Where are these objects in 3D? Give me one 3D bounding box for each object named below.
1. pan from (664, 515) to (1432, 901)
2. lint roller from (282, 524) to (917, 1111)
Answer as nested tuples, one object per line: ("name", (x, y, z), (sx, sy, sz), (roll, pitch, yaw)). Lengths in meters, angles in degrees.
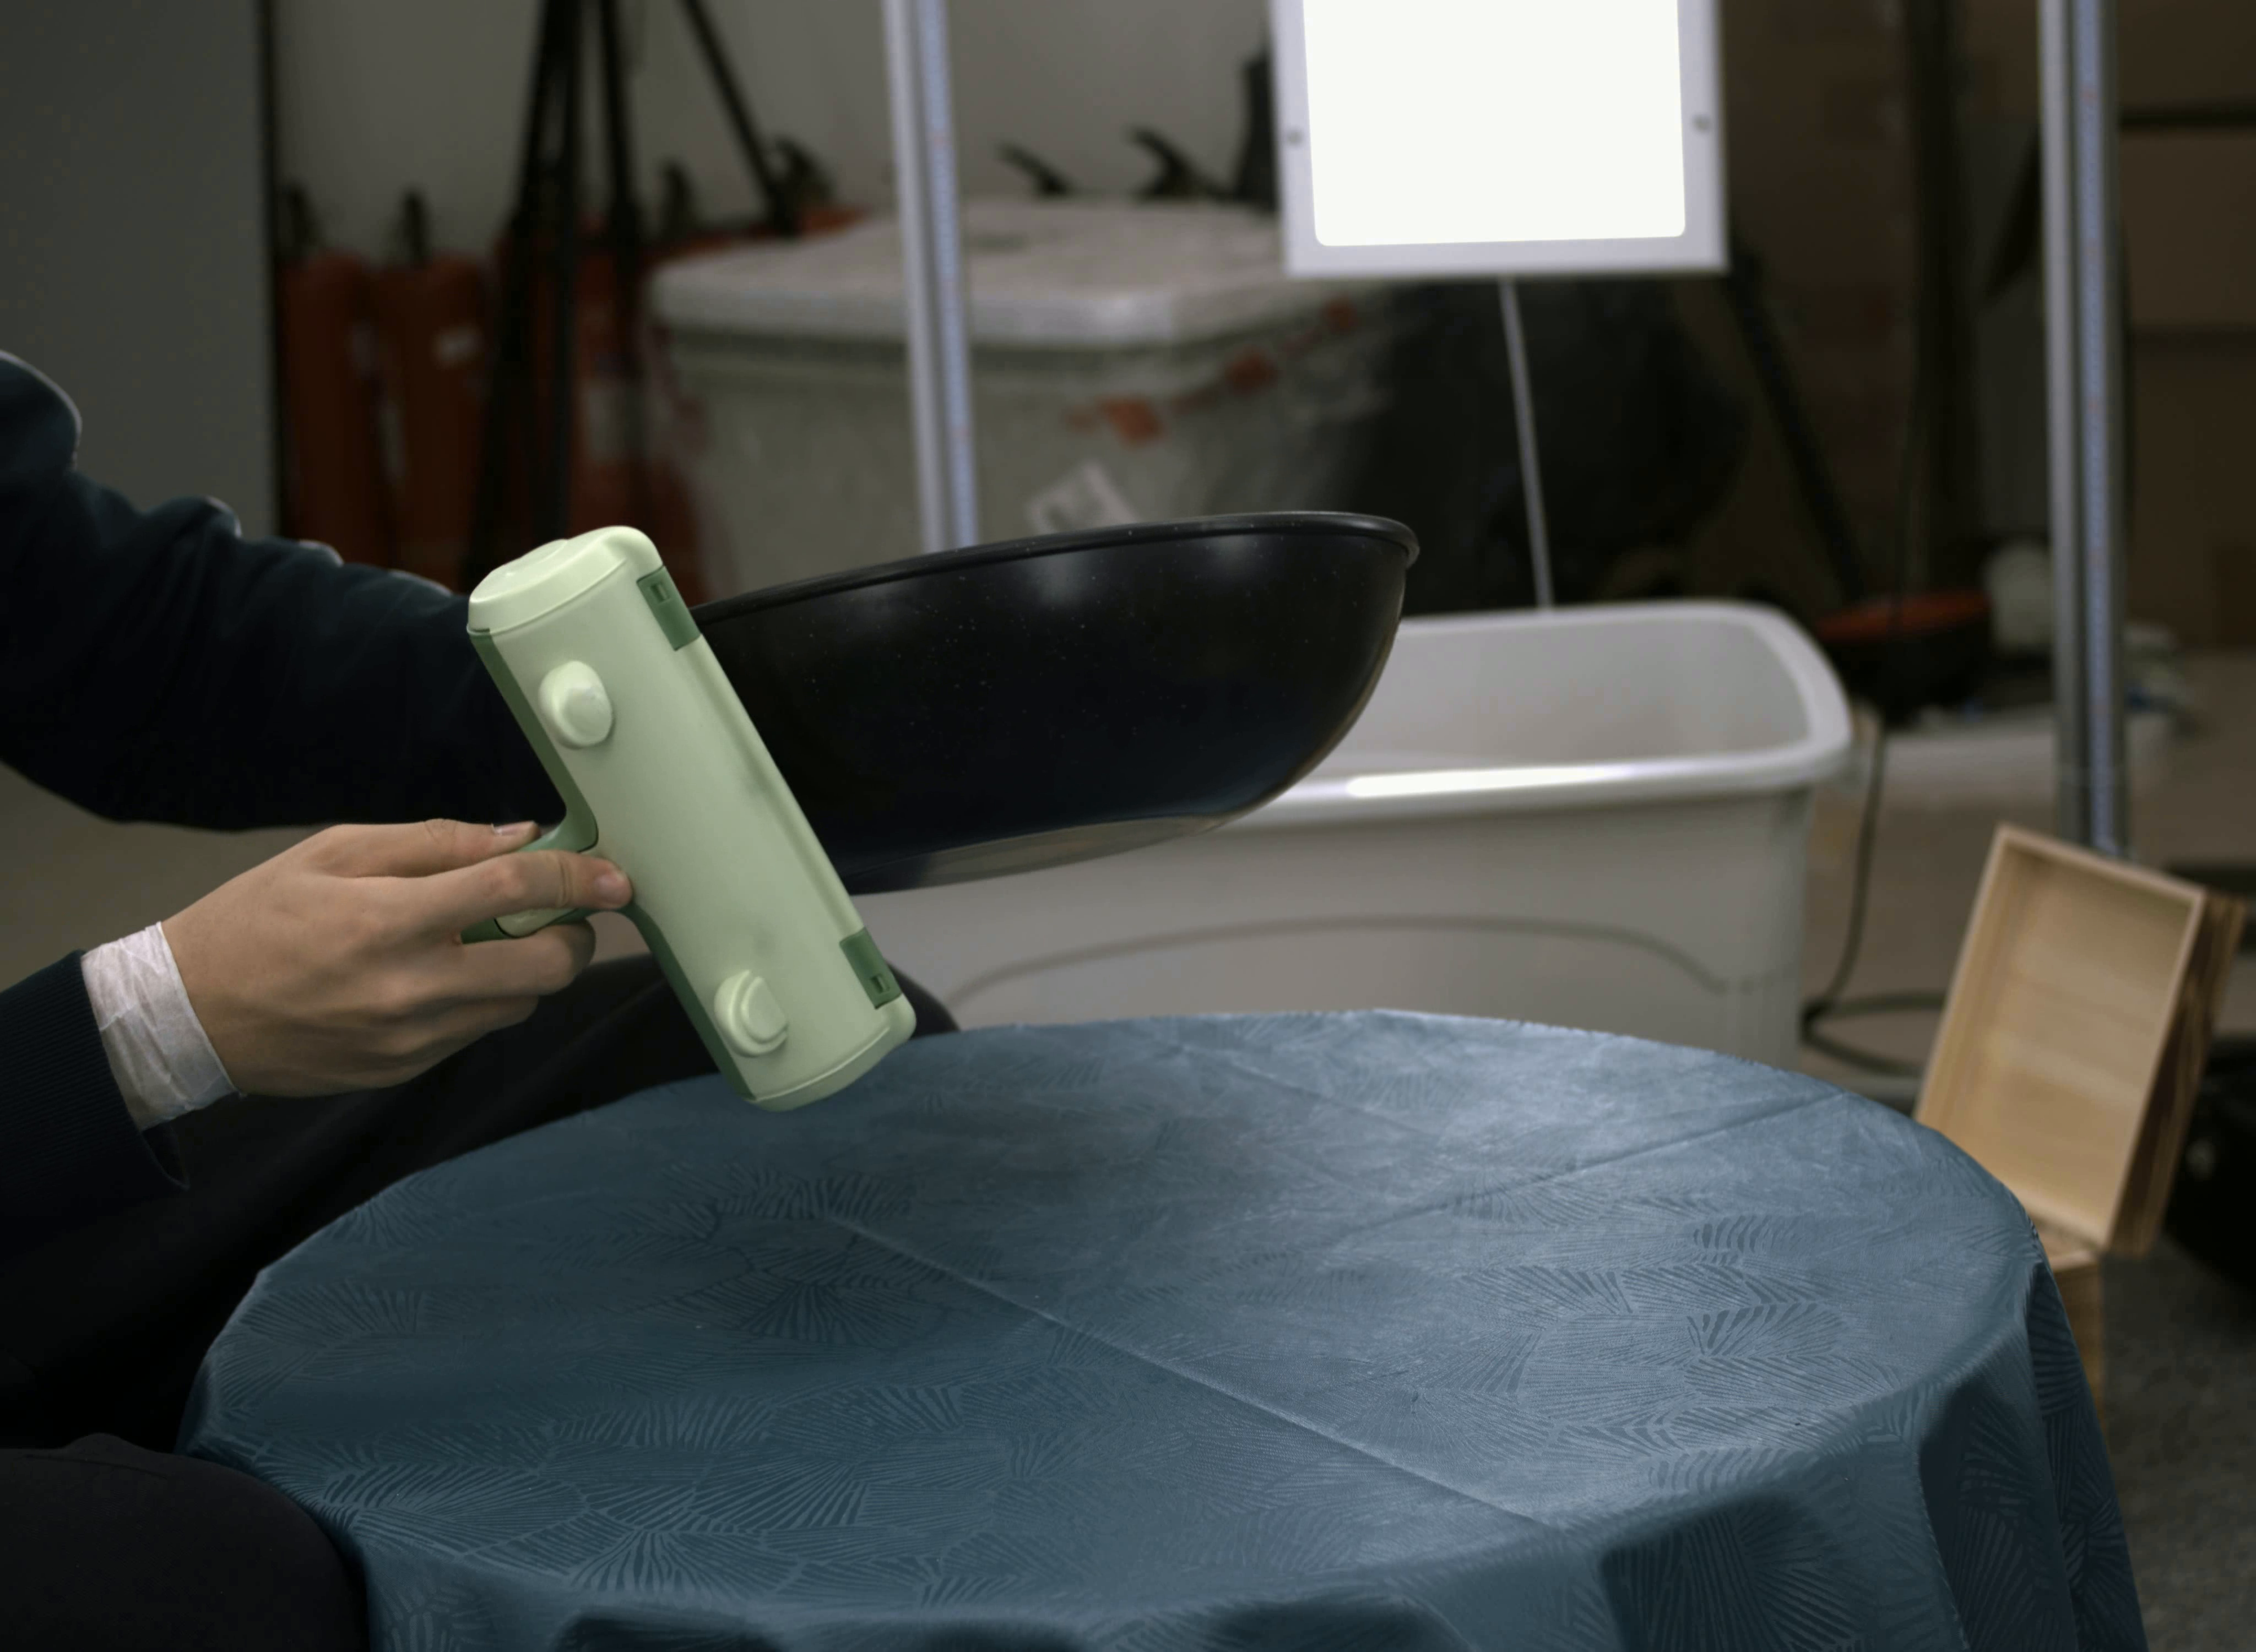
("pan", (-0.064, -0.030, 1.947), (0.306, 0.112, 0.482), (-7, -6, -13))
("lint roller", (-0.190, 0.028, 1.756), (0.184, 0.198, 0.082), (-29, 16, 4))
